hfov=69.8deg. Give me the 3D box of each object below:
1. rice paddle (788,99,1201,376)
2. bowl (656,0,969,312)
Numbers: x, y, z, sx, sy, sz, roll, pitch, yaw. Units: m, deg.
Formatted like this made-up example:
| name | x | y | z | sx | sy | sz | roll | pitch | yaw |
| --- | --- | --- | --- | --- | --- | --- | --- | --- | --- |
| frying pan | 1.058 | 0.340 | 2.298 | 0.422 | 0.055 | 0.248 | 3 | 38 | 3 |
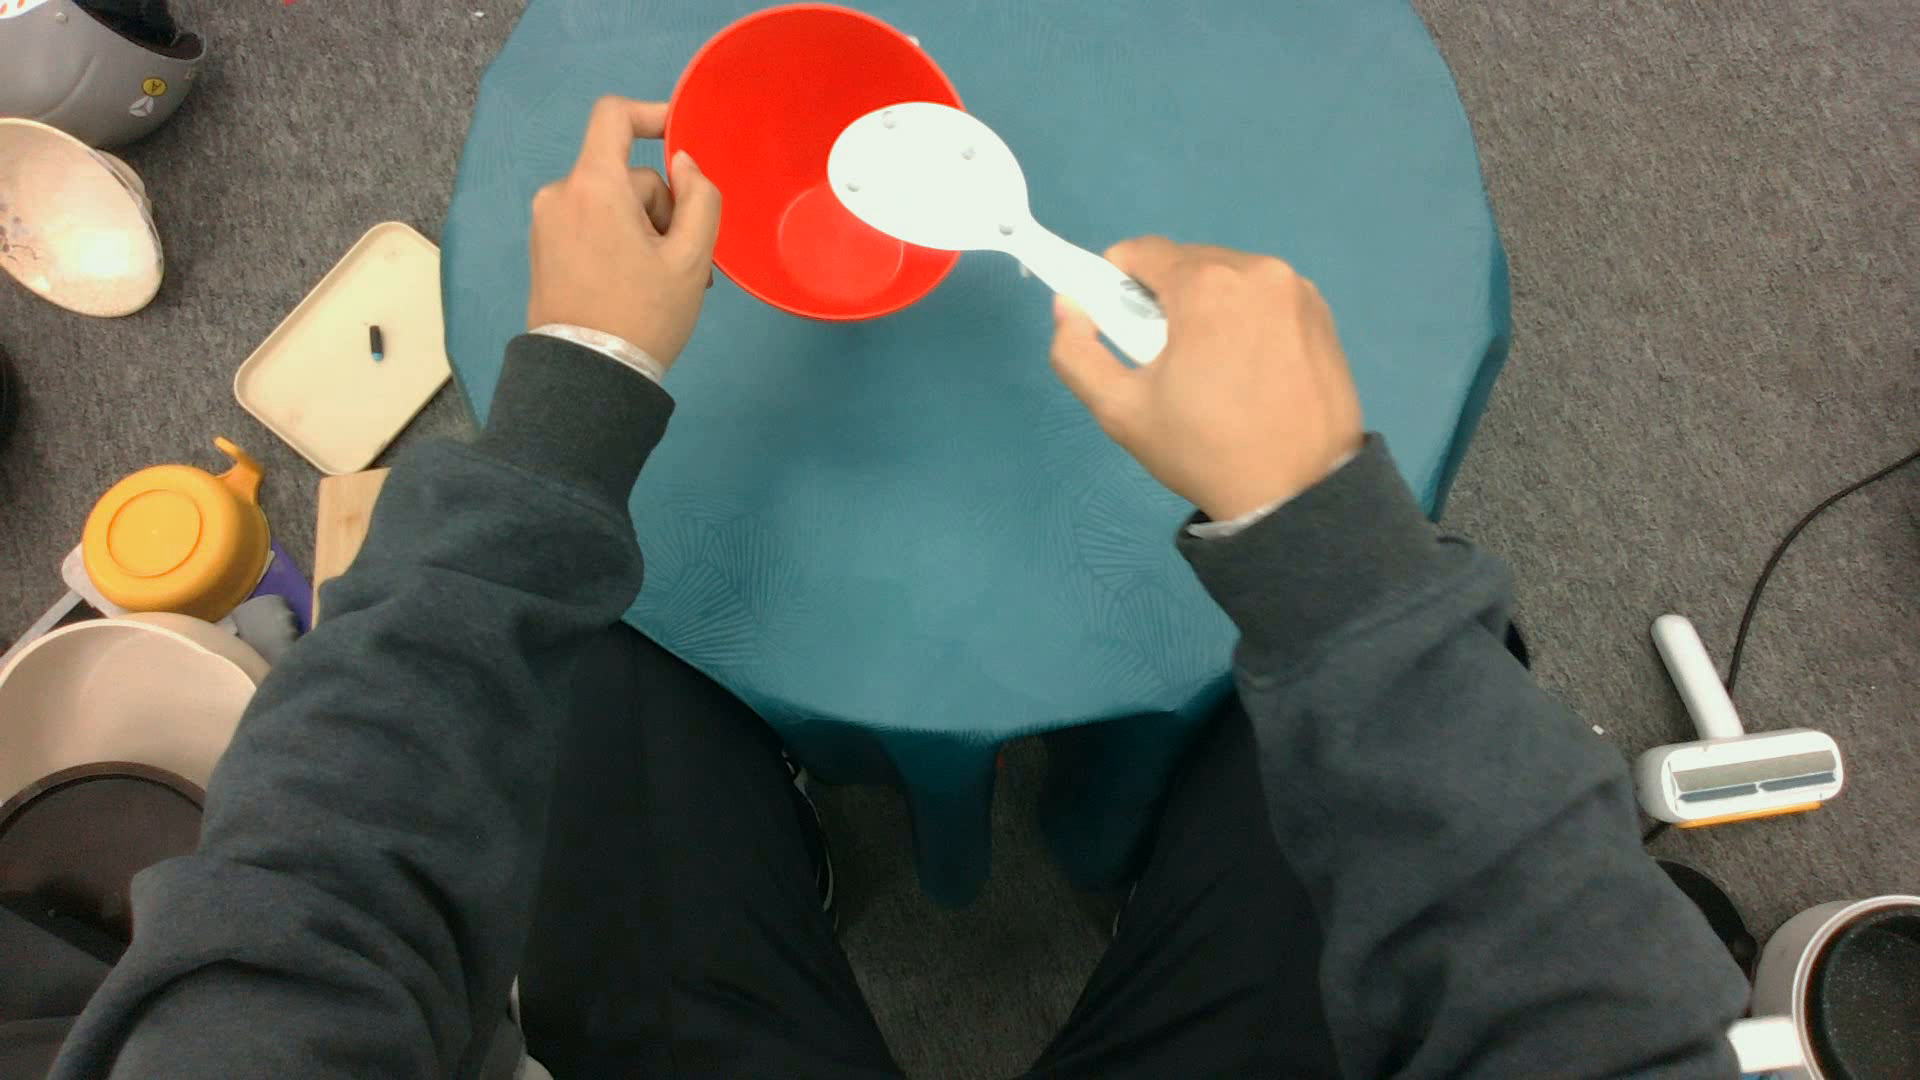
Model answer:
| name | x | y | z | sx | sy | sz | roll | pitch | yaw |
| --- | --- | --- | --- | --- | --- | --- | --- | --- | --- |
| rice paddle | 0.008 | -0.131 | 0.564 | 0.205 | 0.029 | 0.069 | 37 | 70 | 25 |
| bowl | -0.073 | -0.177 | 0.685 | 0.148 | 0.104 | 0.148 | 1 | 81 | -9 |
